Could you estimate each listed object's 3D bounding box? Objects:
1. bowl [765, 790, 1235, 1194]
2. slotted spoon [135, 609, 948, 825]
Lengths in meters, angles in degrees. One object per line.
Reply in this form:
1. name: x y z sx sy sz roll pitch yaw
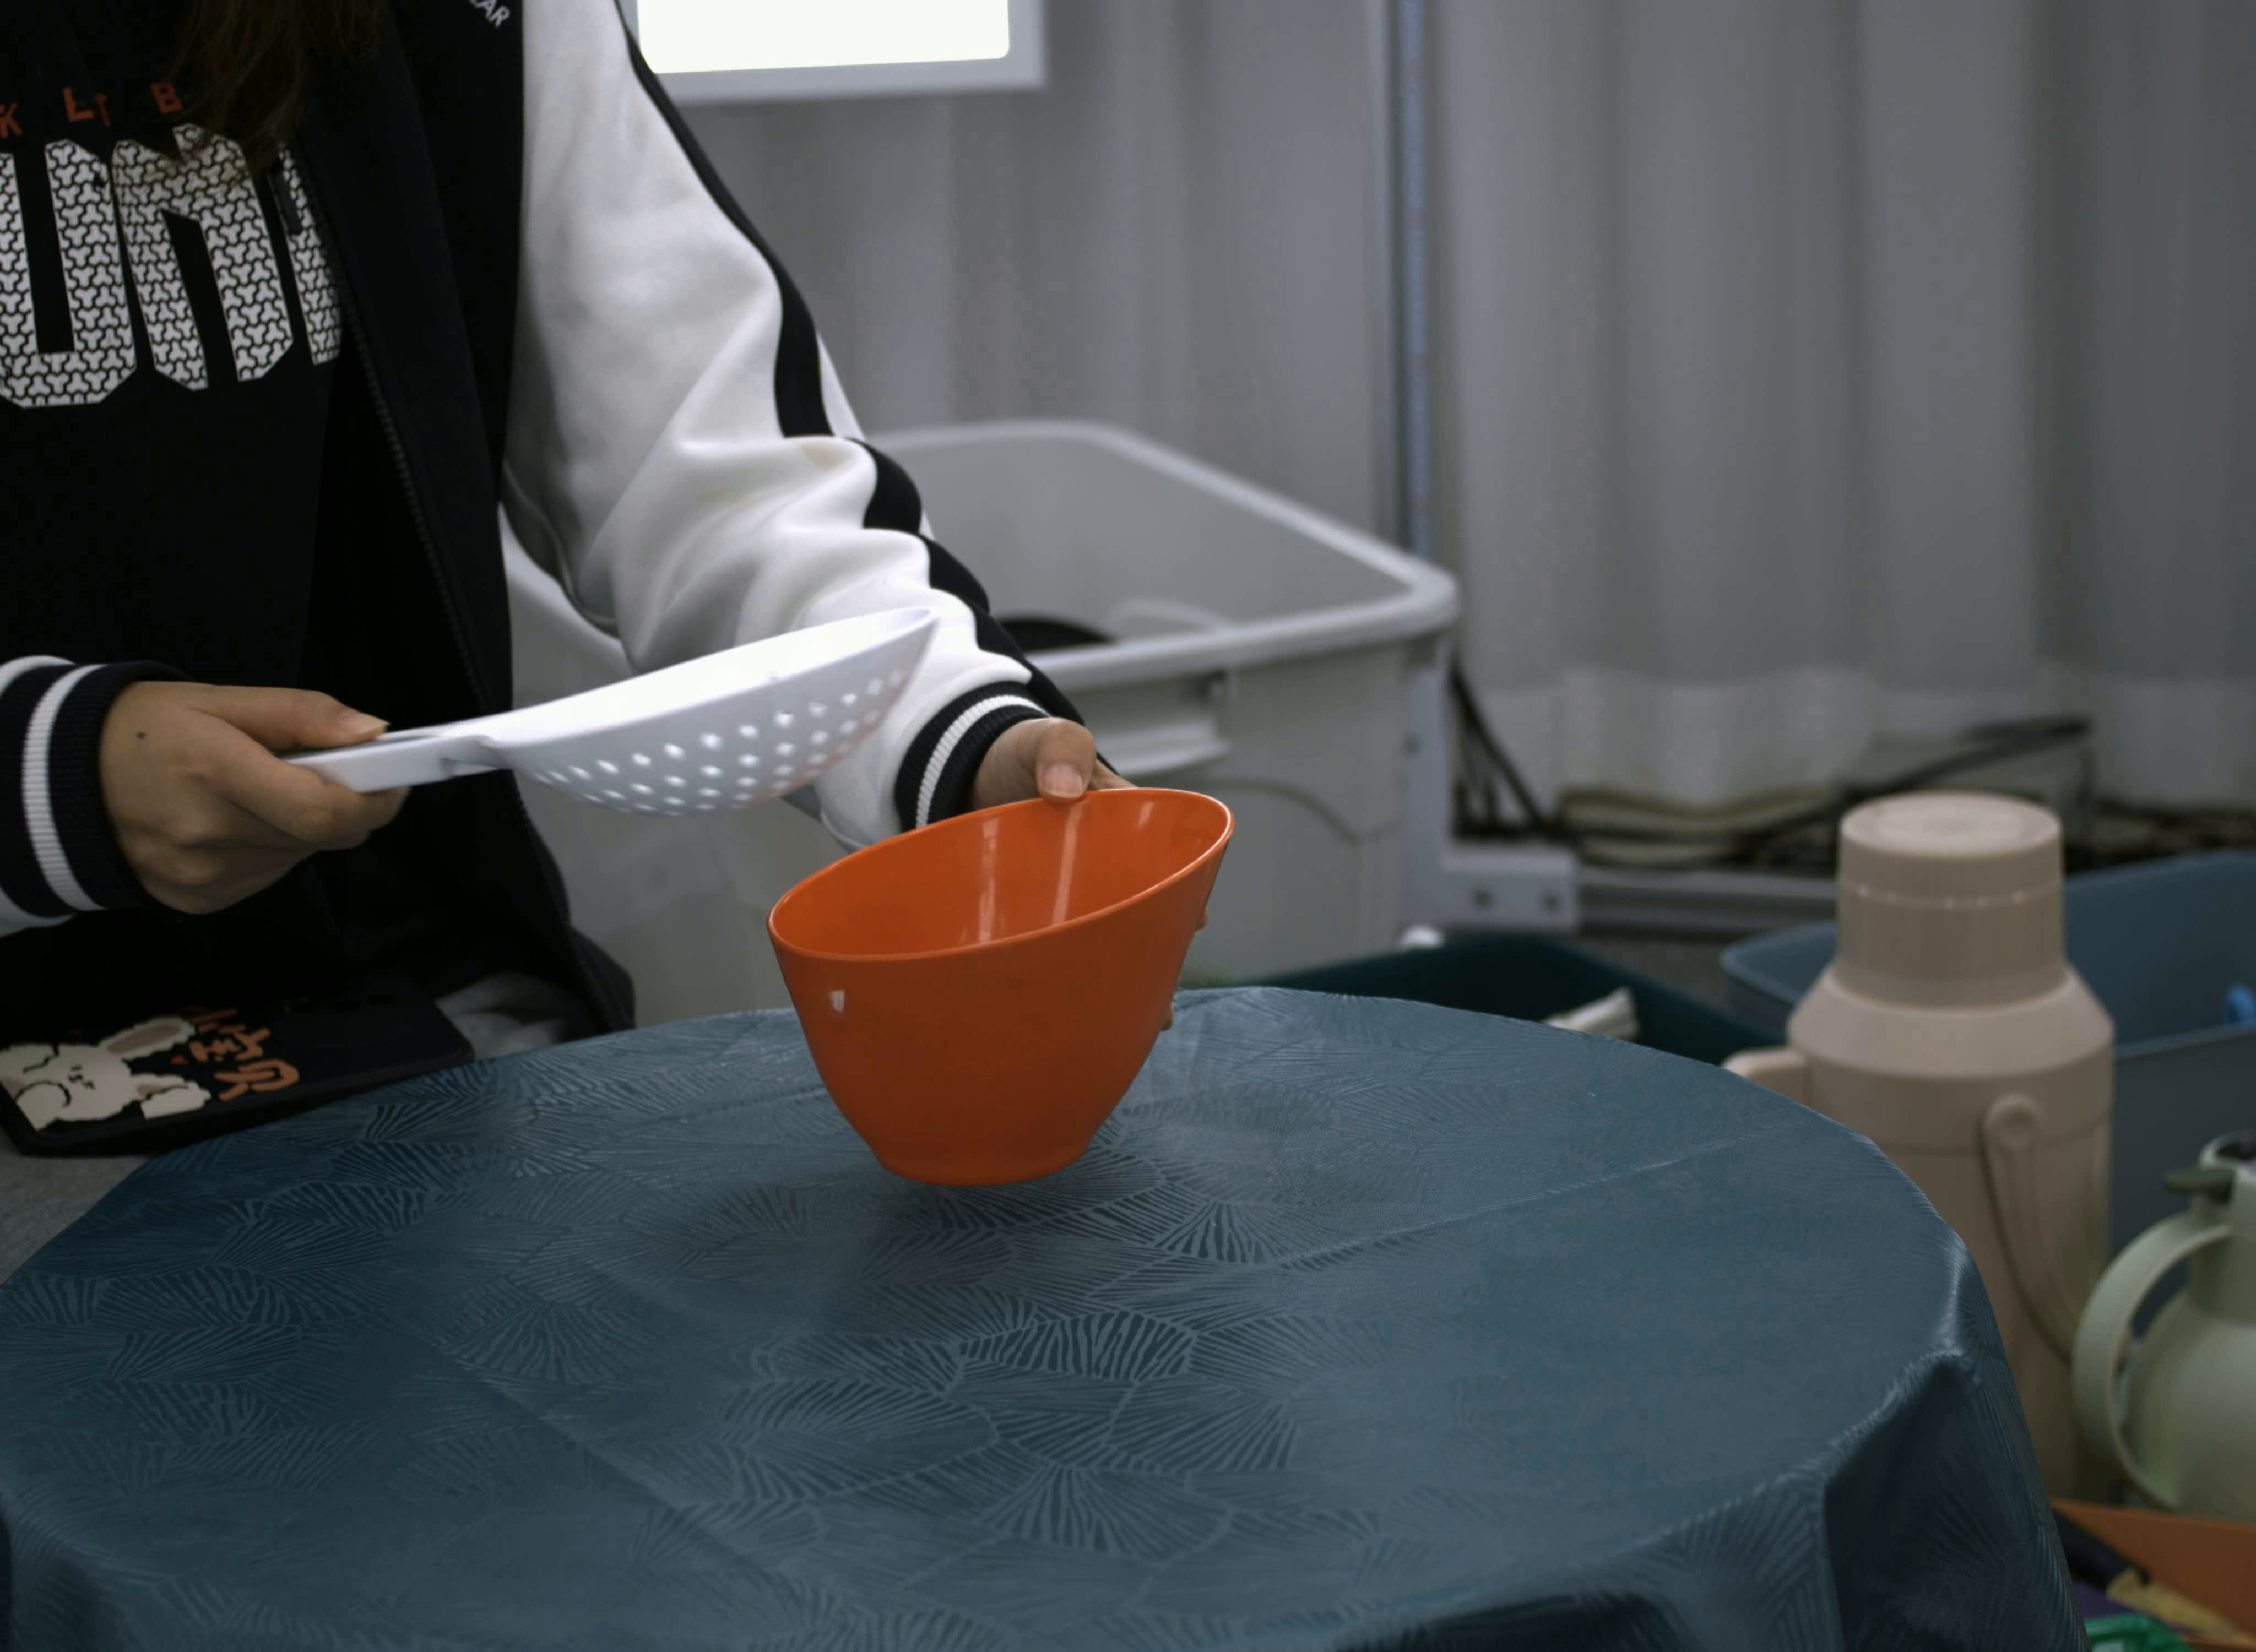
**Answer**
1. bowl: -0.038 0.054 1.700 0.147 0.104 0.149 -3 18 1
2. slotted spoon: -0.193 -0.026 1.677 0.350 0.045 0.136 -2 16 43
